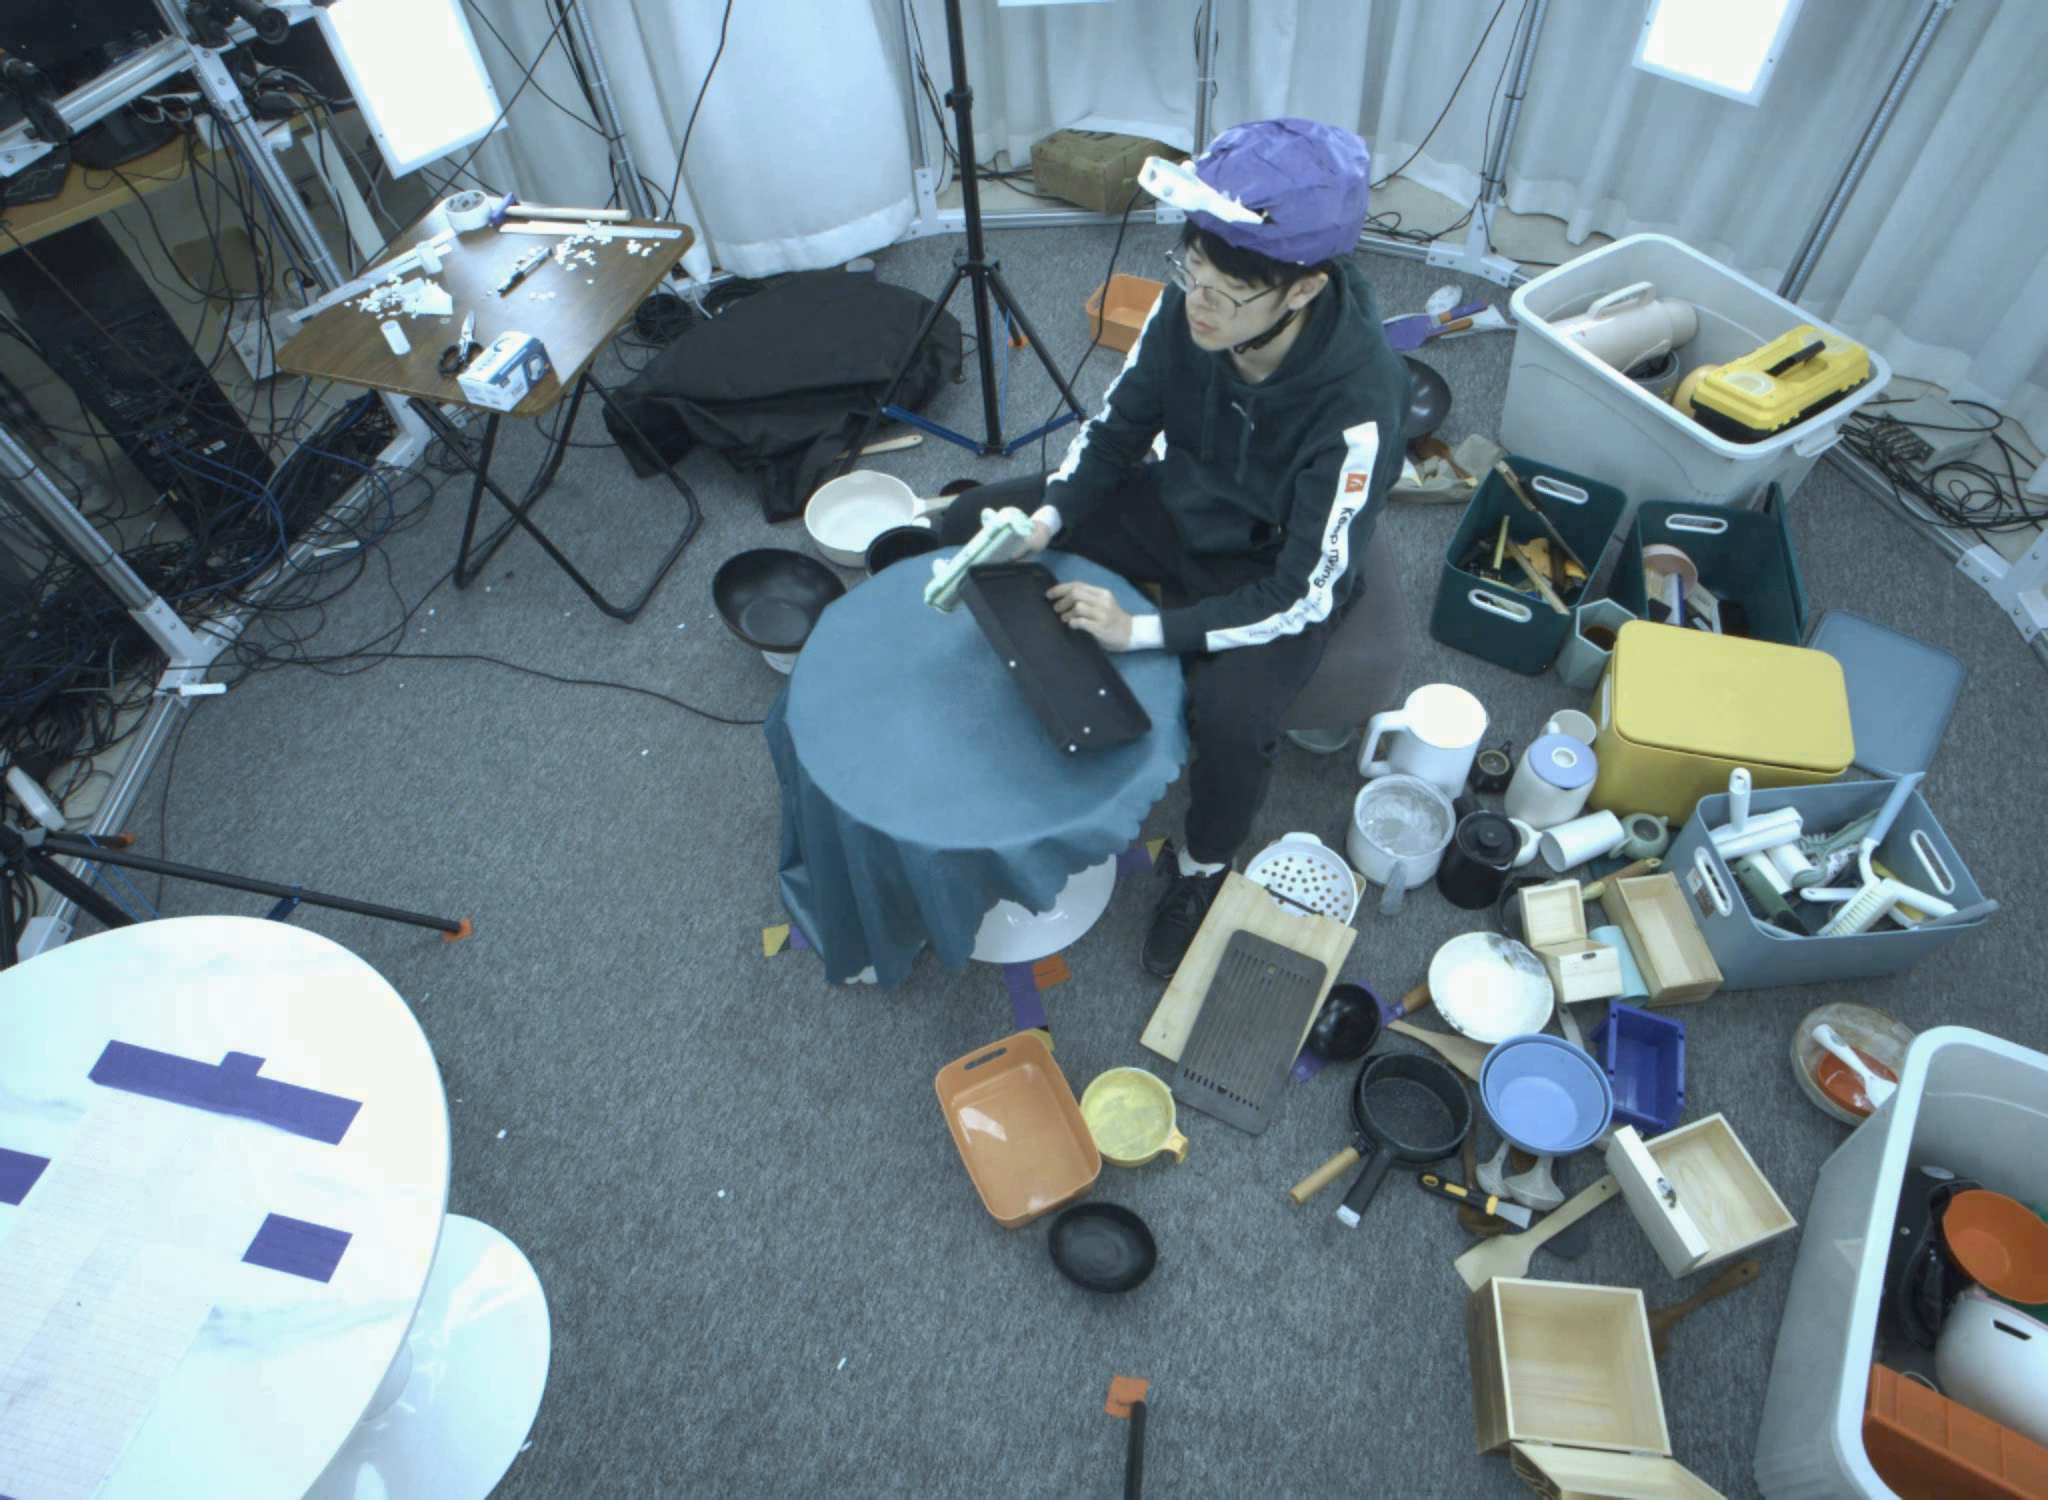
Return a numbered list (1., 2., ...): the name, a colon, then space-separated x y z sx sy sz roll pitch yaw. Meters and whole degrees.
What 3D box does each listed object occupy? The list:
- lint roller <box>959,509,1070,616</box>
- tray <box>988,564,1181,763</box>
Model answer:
1. lint roller: -0.002 -0.299 1.832 0.082 0.197 0.184 48 33 -4
2. tray: 0.085 -0.128 1.745 0.188 0.037 0.314 -12 66 -48
